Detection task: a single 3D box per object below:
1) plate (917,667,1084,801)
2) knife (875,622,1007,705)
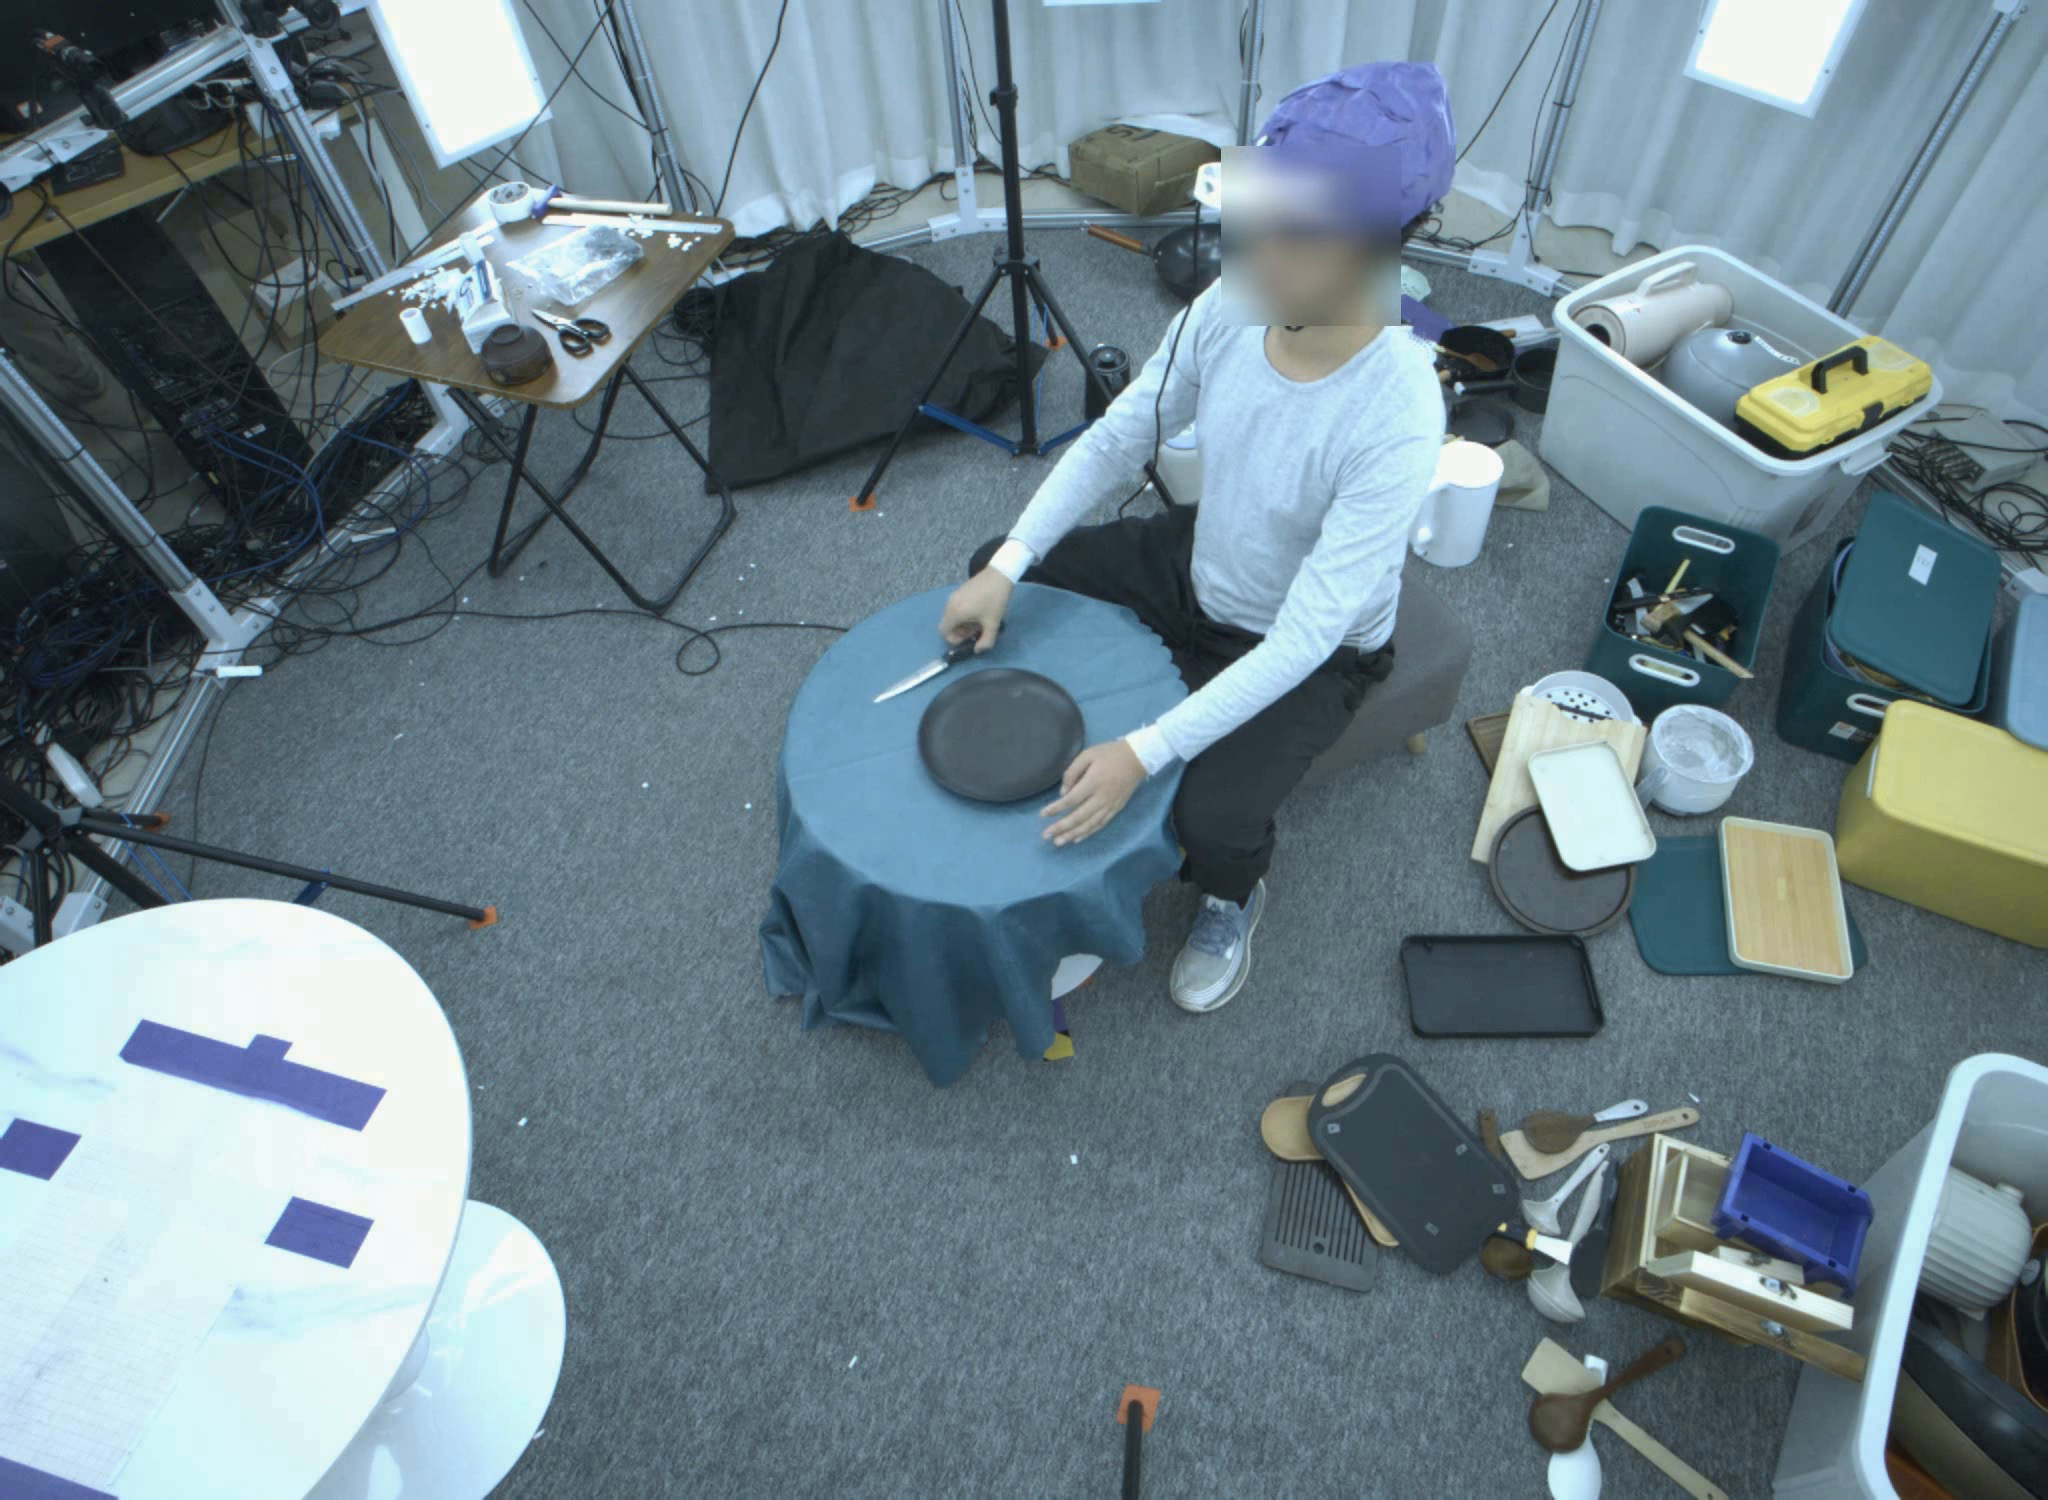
[{"bbox_3d":[-0.034,-0.022,1.798,0.244,0.023,0.242,0,54,1],"label":"plate"},{"bbox_3d":[-0.130,-0.133,1.883,0.239,0.016,0.024,-33,60,-15],"label":"knife"}]
